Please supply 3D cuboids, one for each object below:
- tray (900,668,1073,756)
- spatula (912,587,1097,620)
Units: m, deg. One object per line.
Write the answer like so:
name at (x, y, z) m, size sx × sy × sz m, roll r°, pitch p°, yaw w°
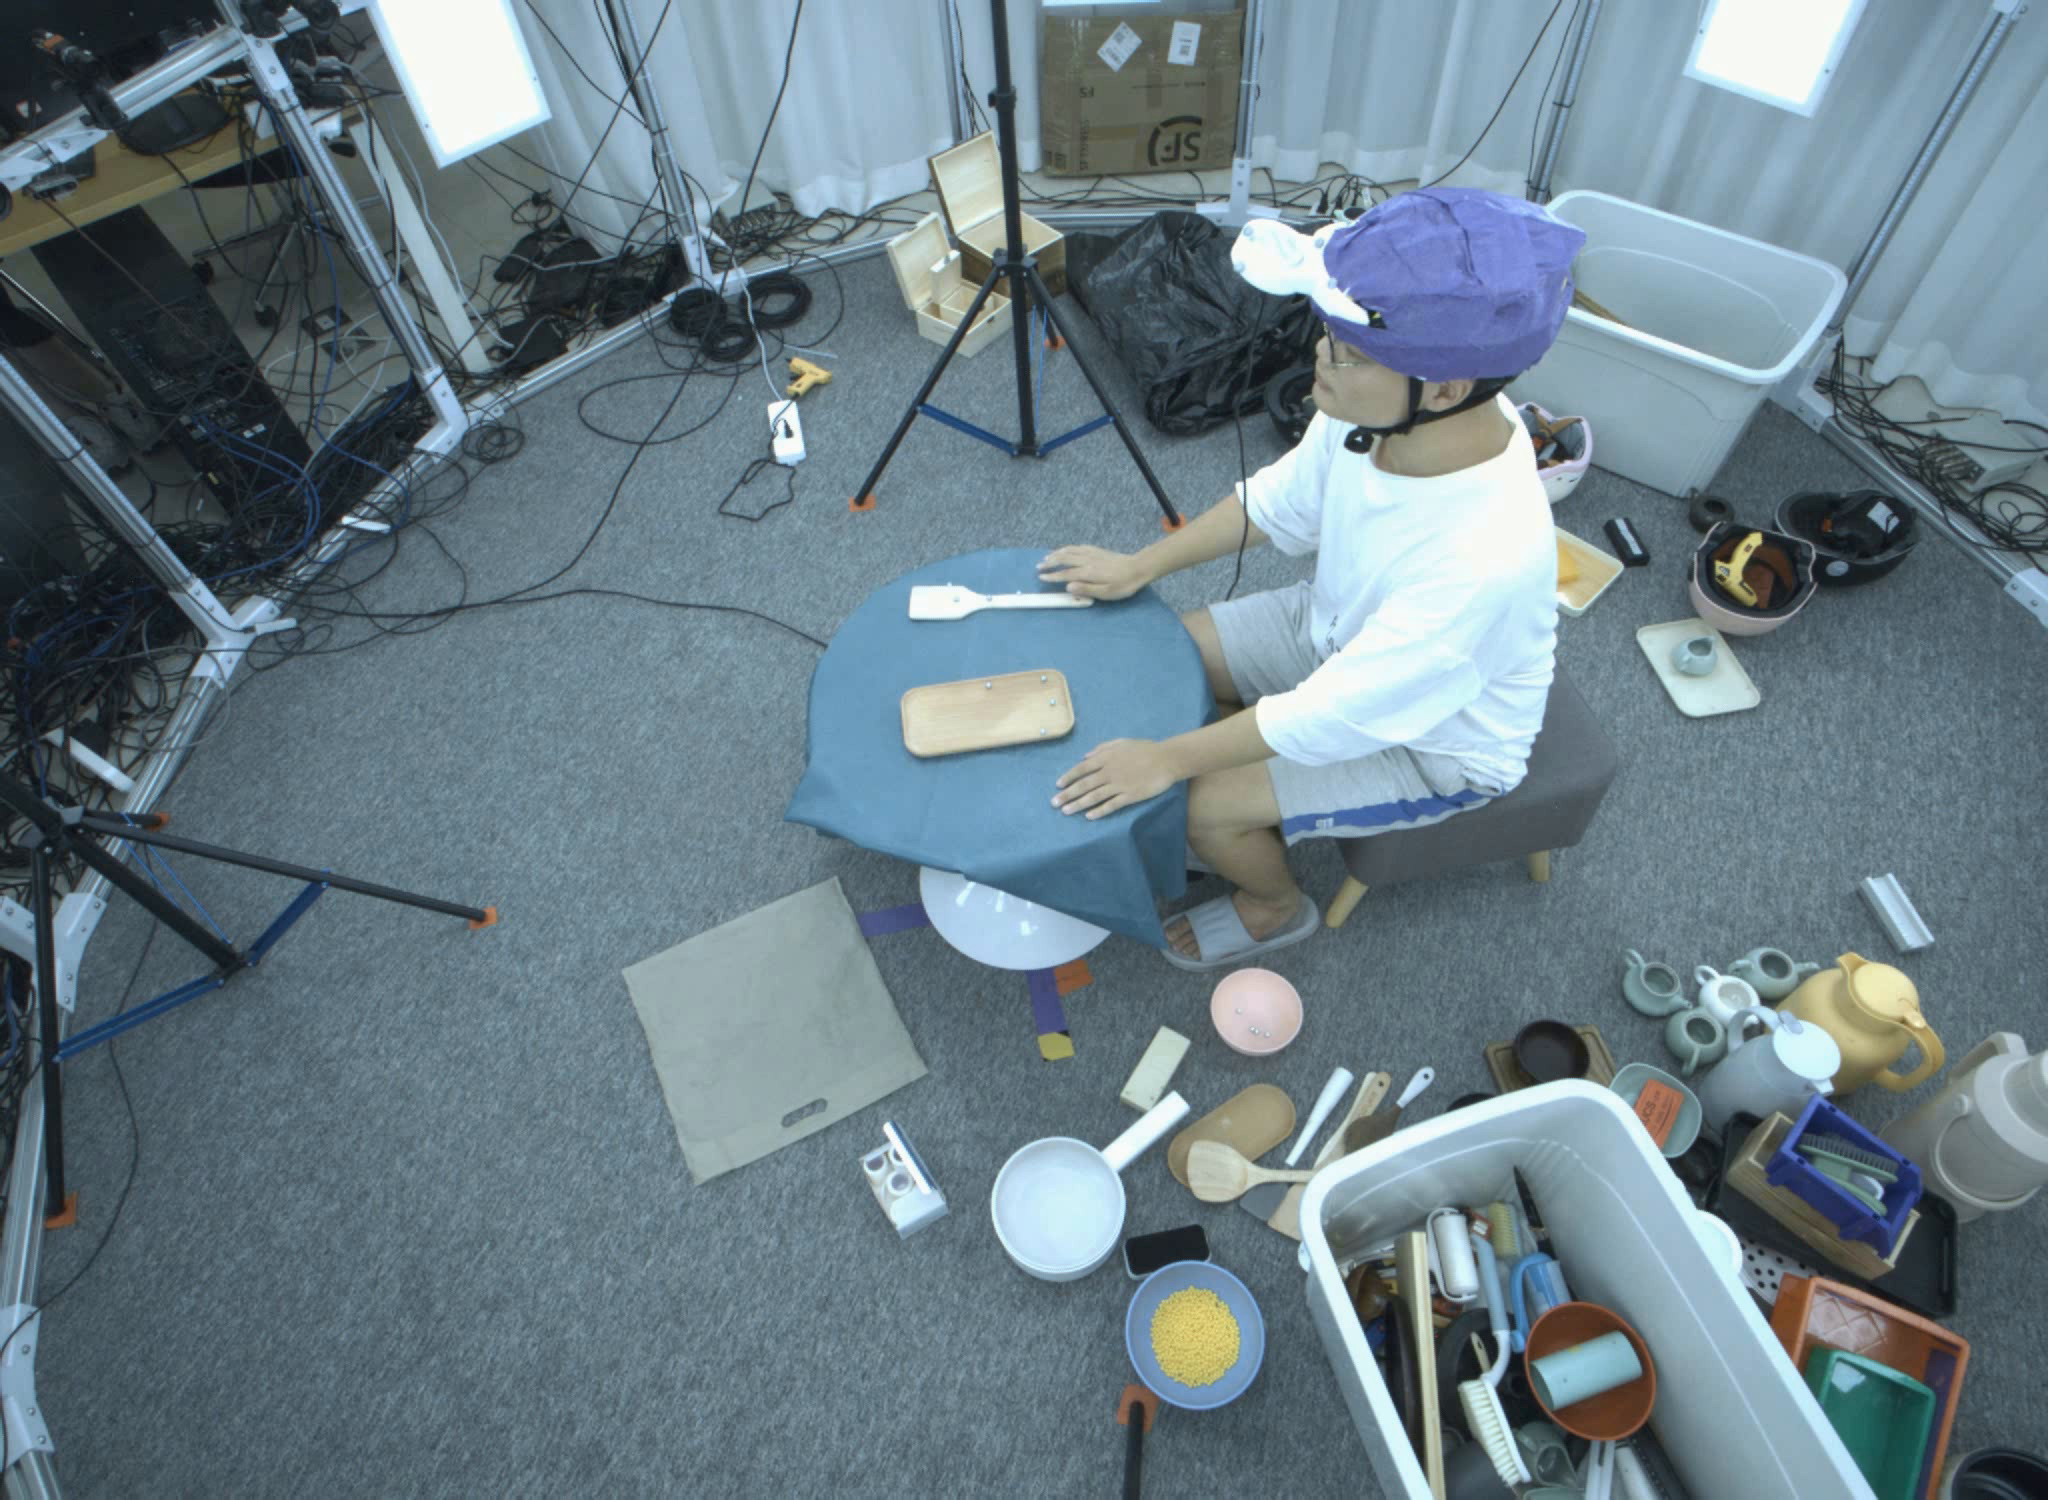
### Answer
tray at (-0.056, -0.056, 1.816) m, size 0.251 × 0.023 × 0.129 m, roll -7°, pitch 52°, yaw -3°
spatula at (-0.032, -0.236, 1.949) m, size 0.293 × 0.011 × 0.071 m, roll -1°, pitch 53°, yaw 1°
